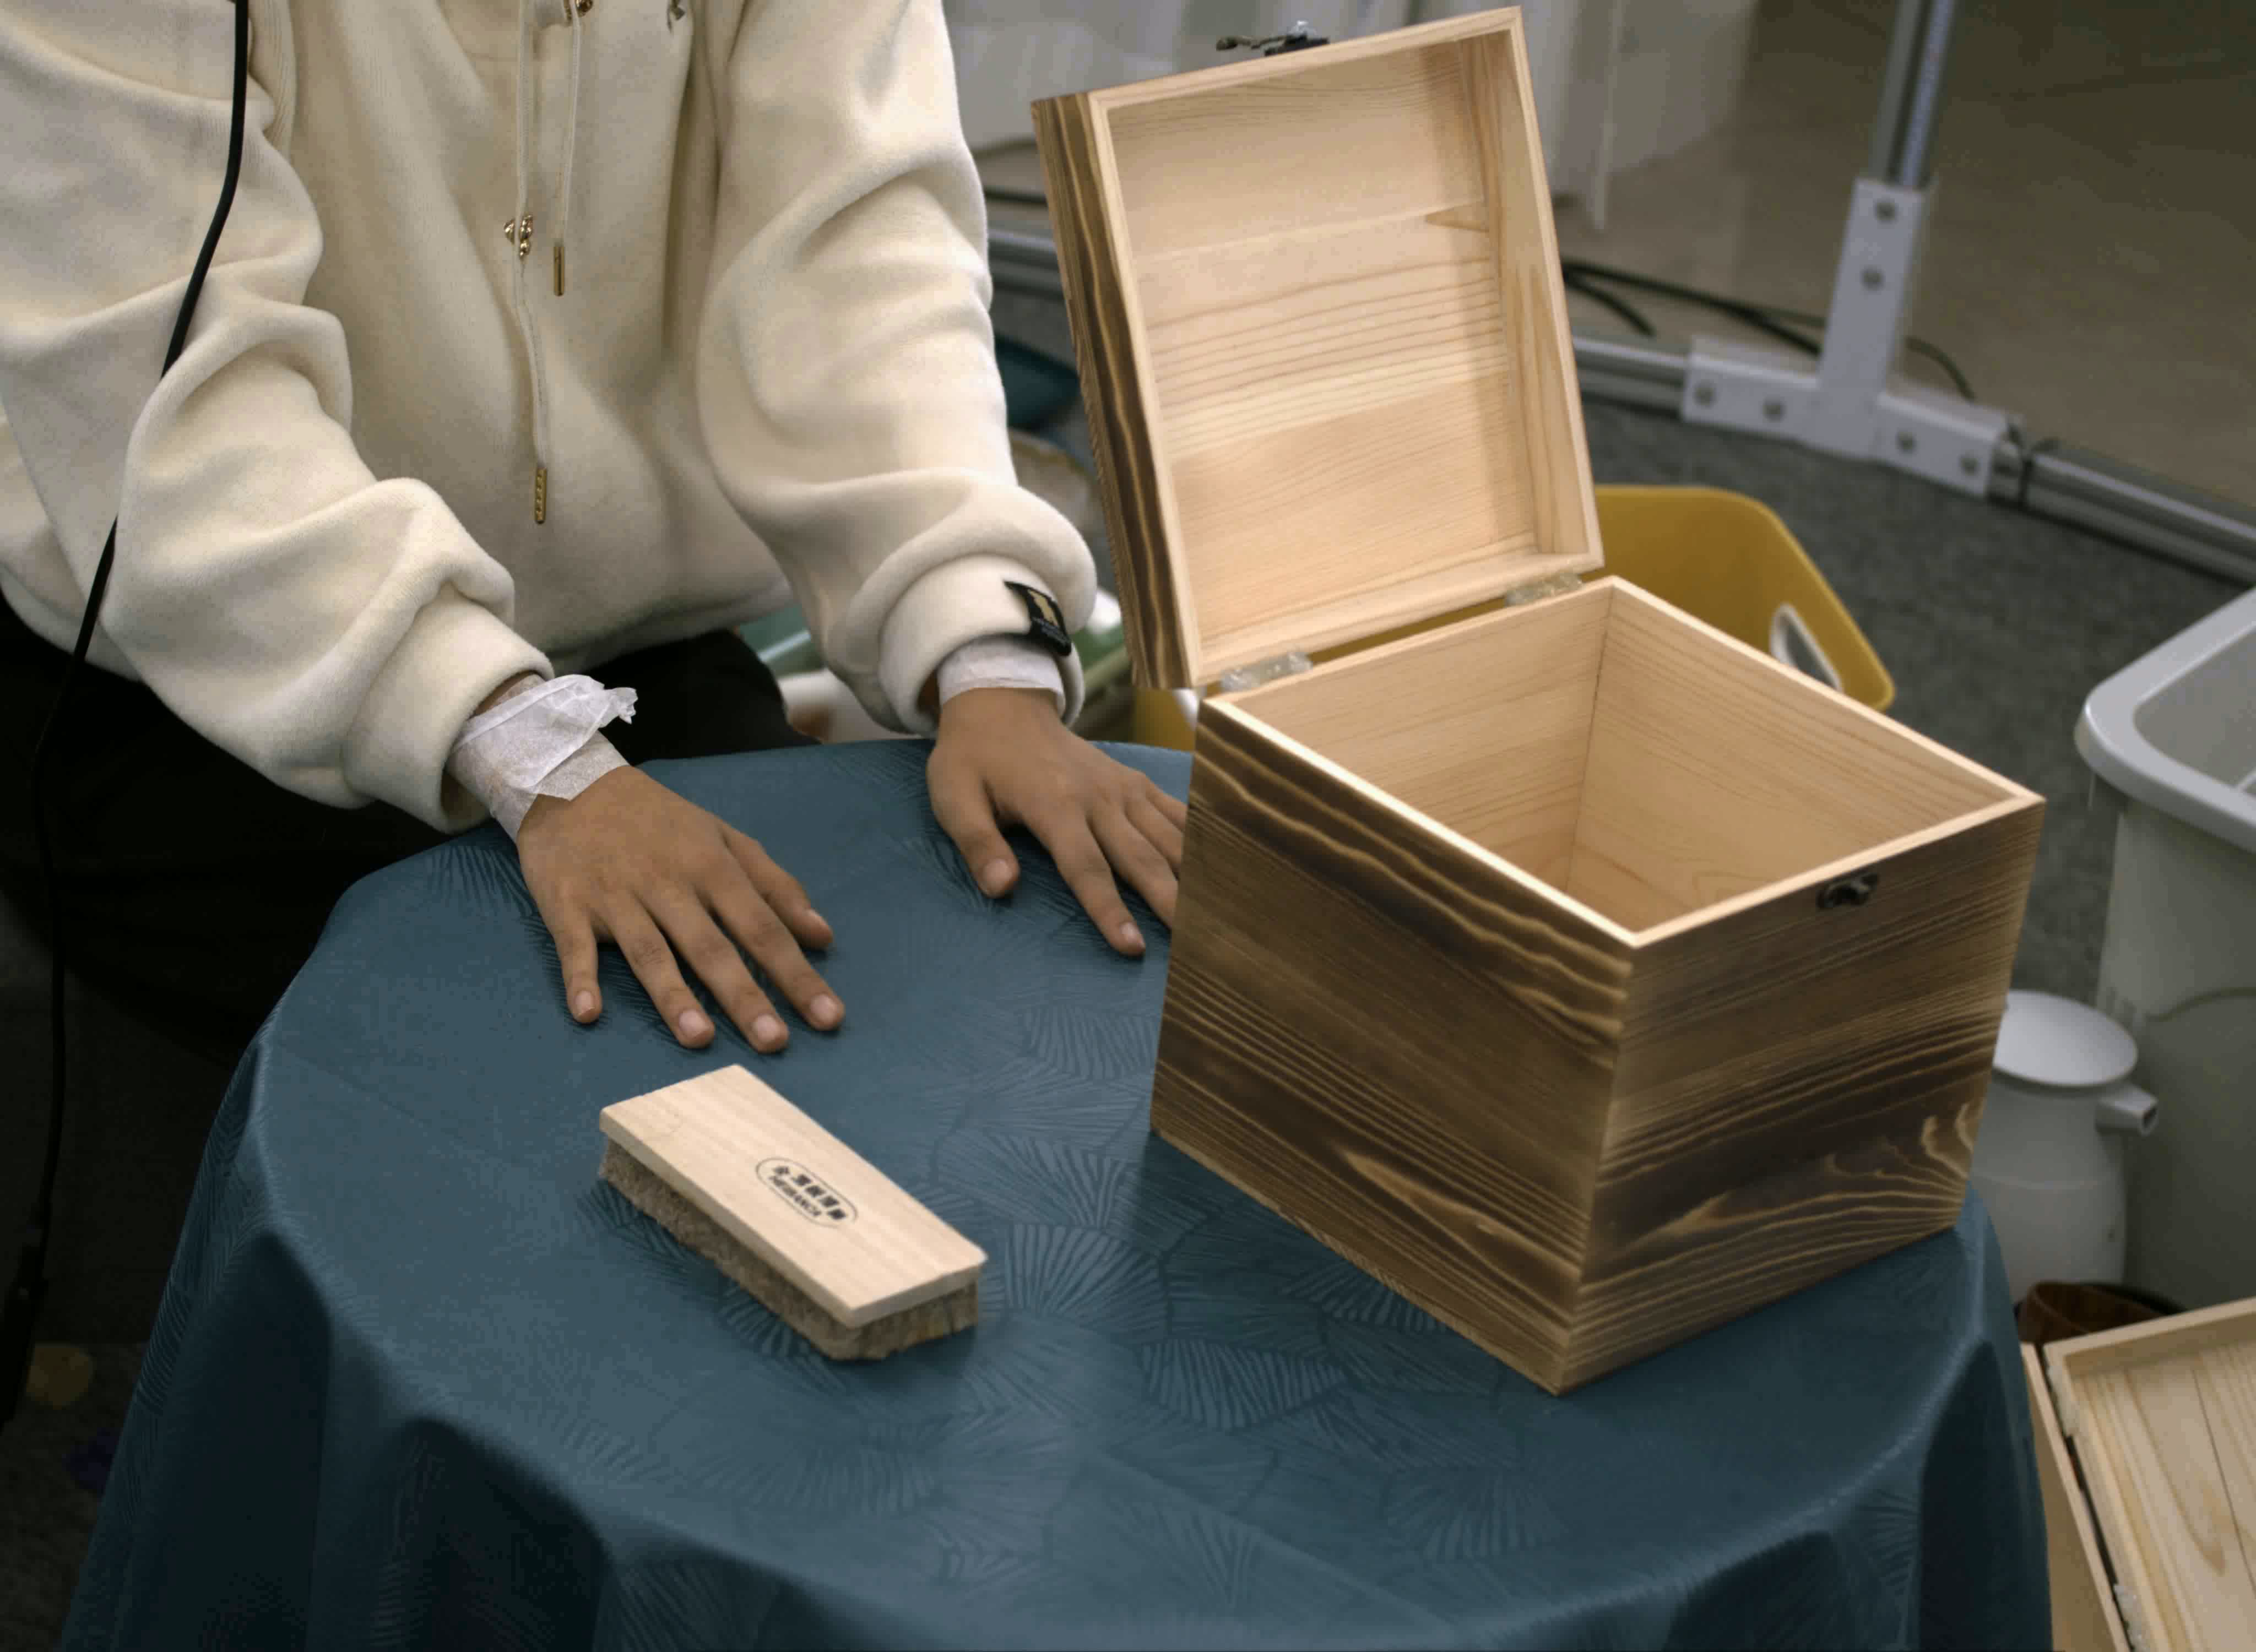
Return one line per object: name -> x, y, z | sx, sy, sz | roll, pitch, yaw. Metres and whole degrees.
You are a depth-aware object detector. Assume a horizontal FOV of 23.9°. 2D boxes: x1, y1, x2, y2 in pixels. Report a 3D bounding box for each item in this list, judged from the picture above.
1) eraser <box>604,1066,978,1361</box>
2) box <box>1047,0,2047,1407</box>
eraser -> -0.111, 0.128, 1.738 | 0.057, 0.029, 0.140 | -17, 34, -34
box -> 0.130, -0.058, 1.788 | 0.207, 0.374, 0.325 | -18, 36, -39
